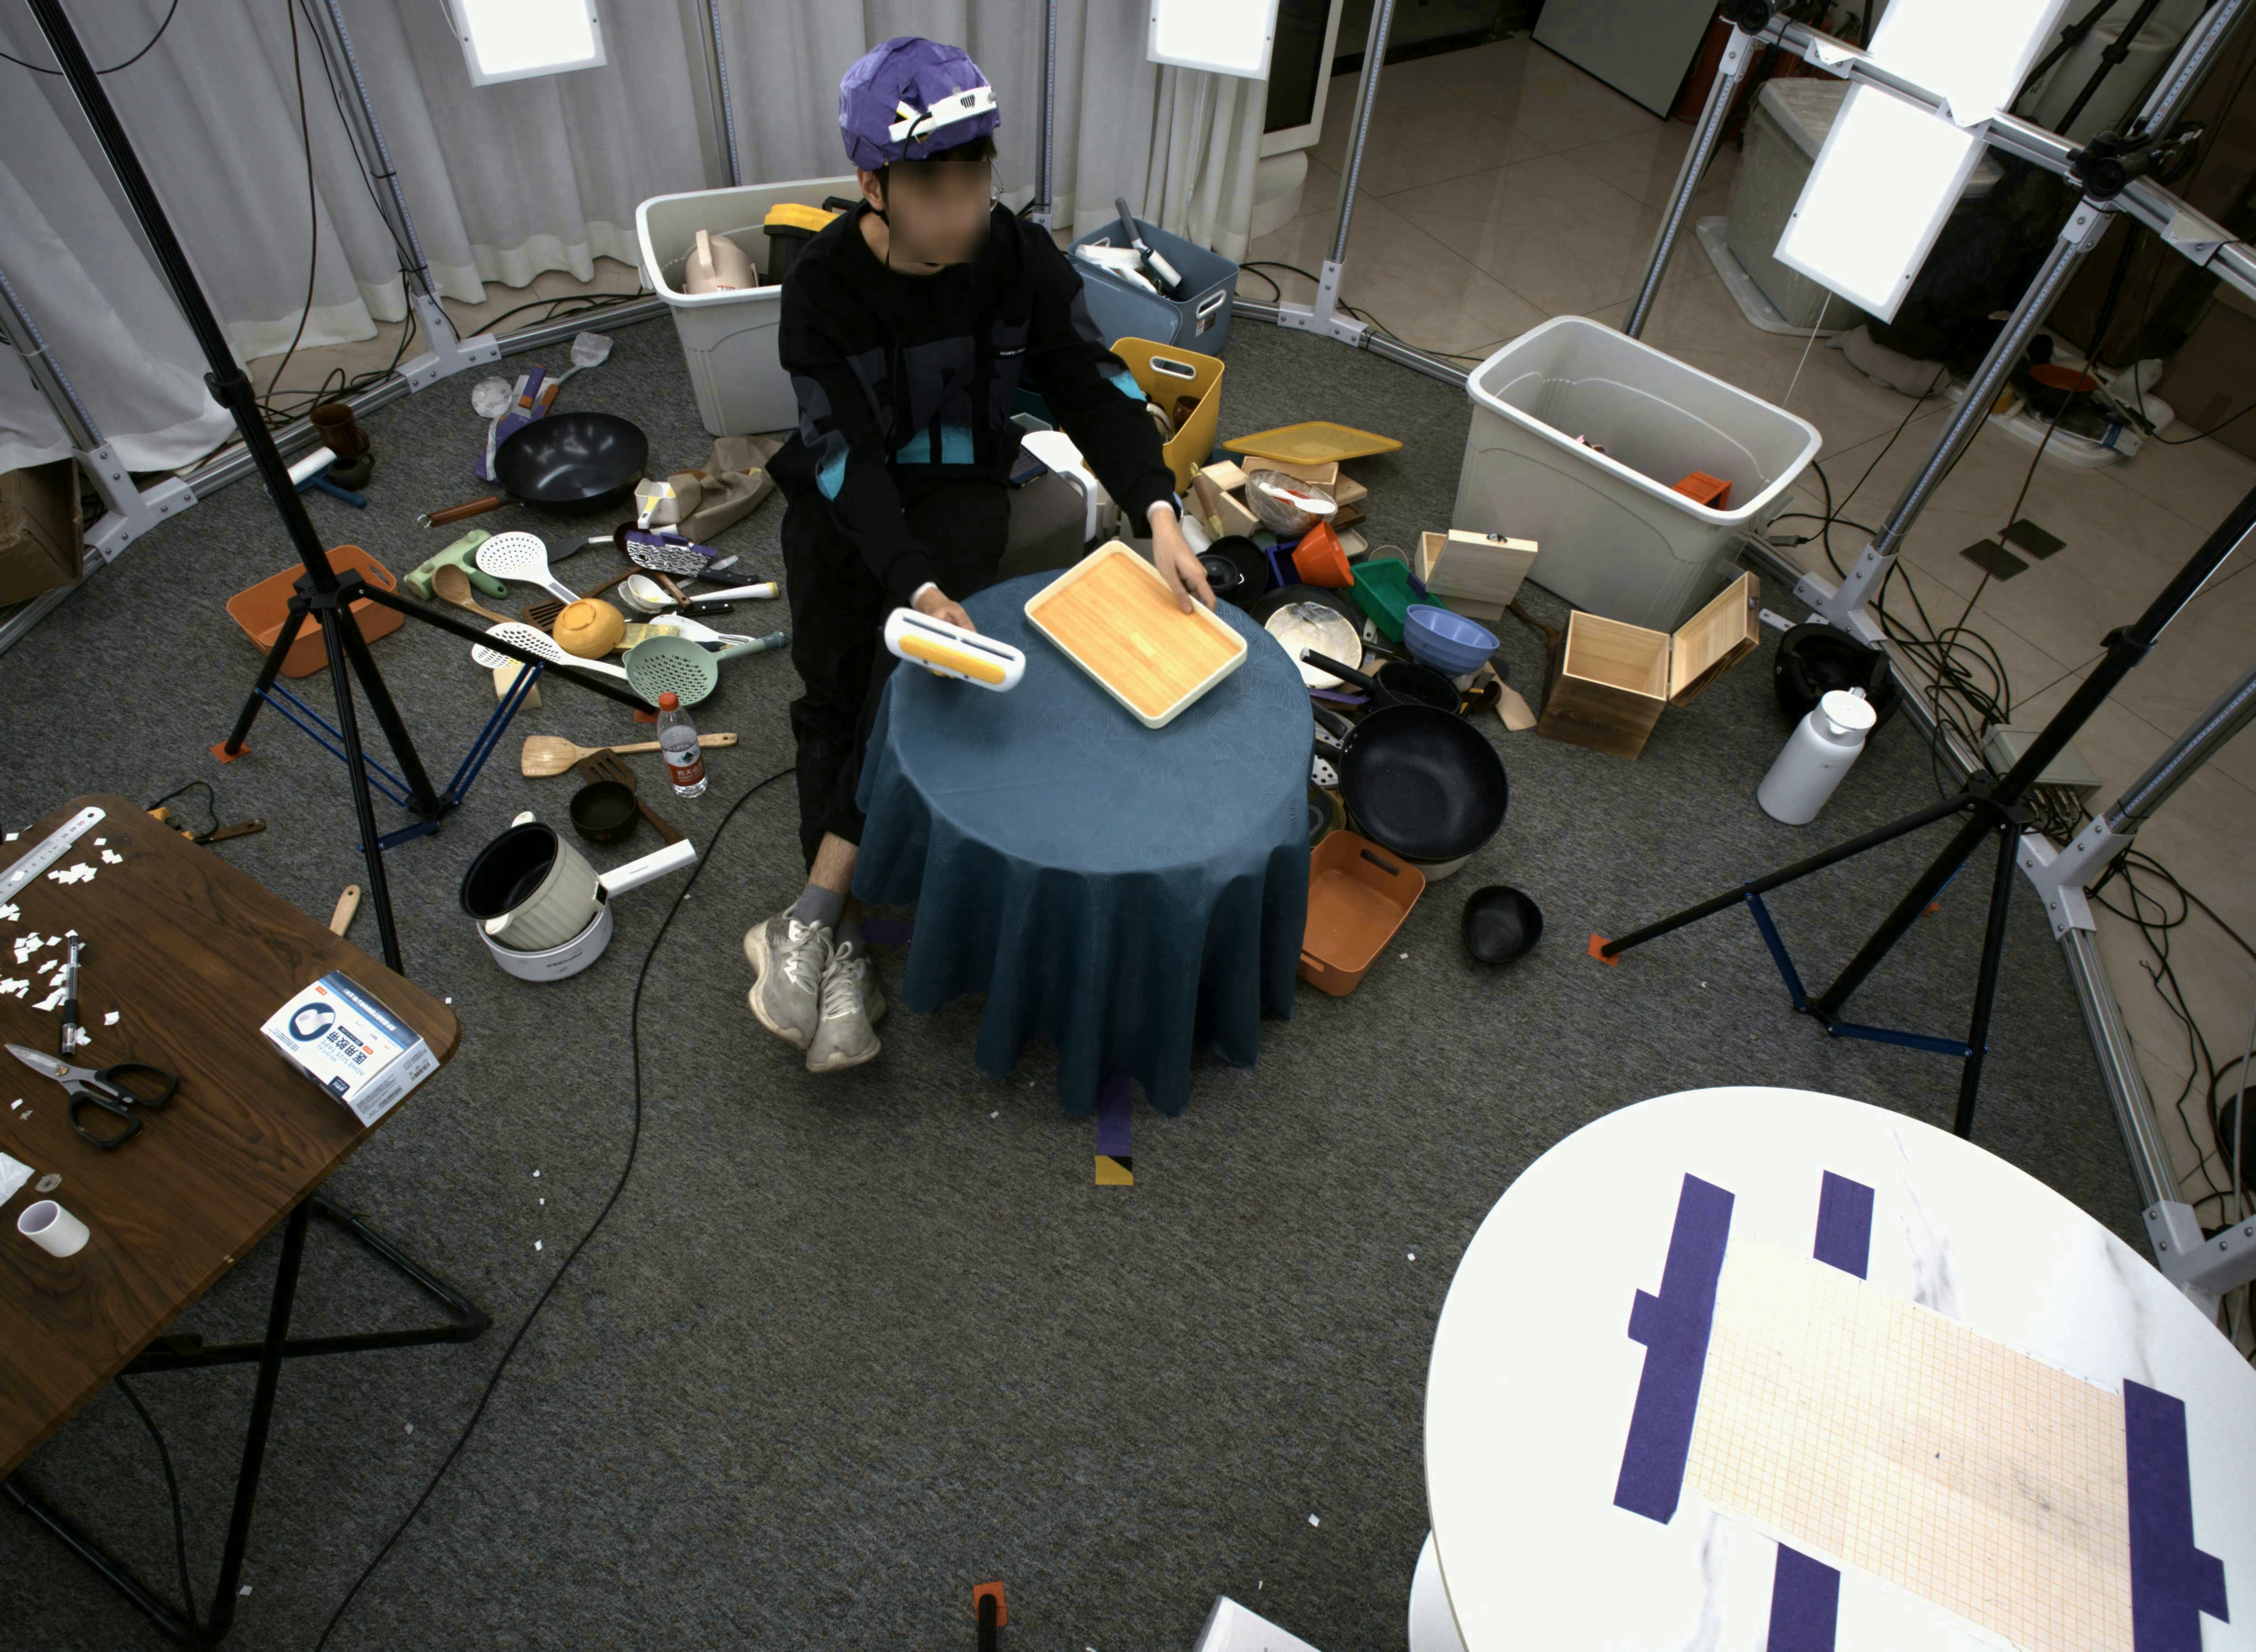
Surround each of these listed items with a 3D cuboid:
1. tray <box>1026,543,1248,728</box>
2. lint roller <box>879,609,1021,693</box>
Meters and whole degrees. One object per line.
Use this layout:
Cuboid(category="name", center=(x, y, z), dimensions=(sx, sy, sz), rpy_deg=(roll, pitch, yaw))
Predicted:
Cuboid(category="tray", center=(0.011, -0.283, 1.870), dimensions=(0.193, 0.027, 0.305), rpy_deg=(-37, 60, -16))
Cuboid(category="lint roller", center=(-0.240, -0.255, 1.785), dimensions=(0.192, 0.073, 0.196), rpy_deg=(15, 25, -6))
